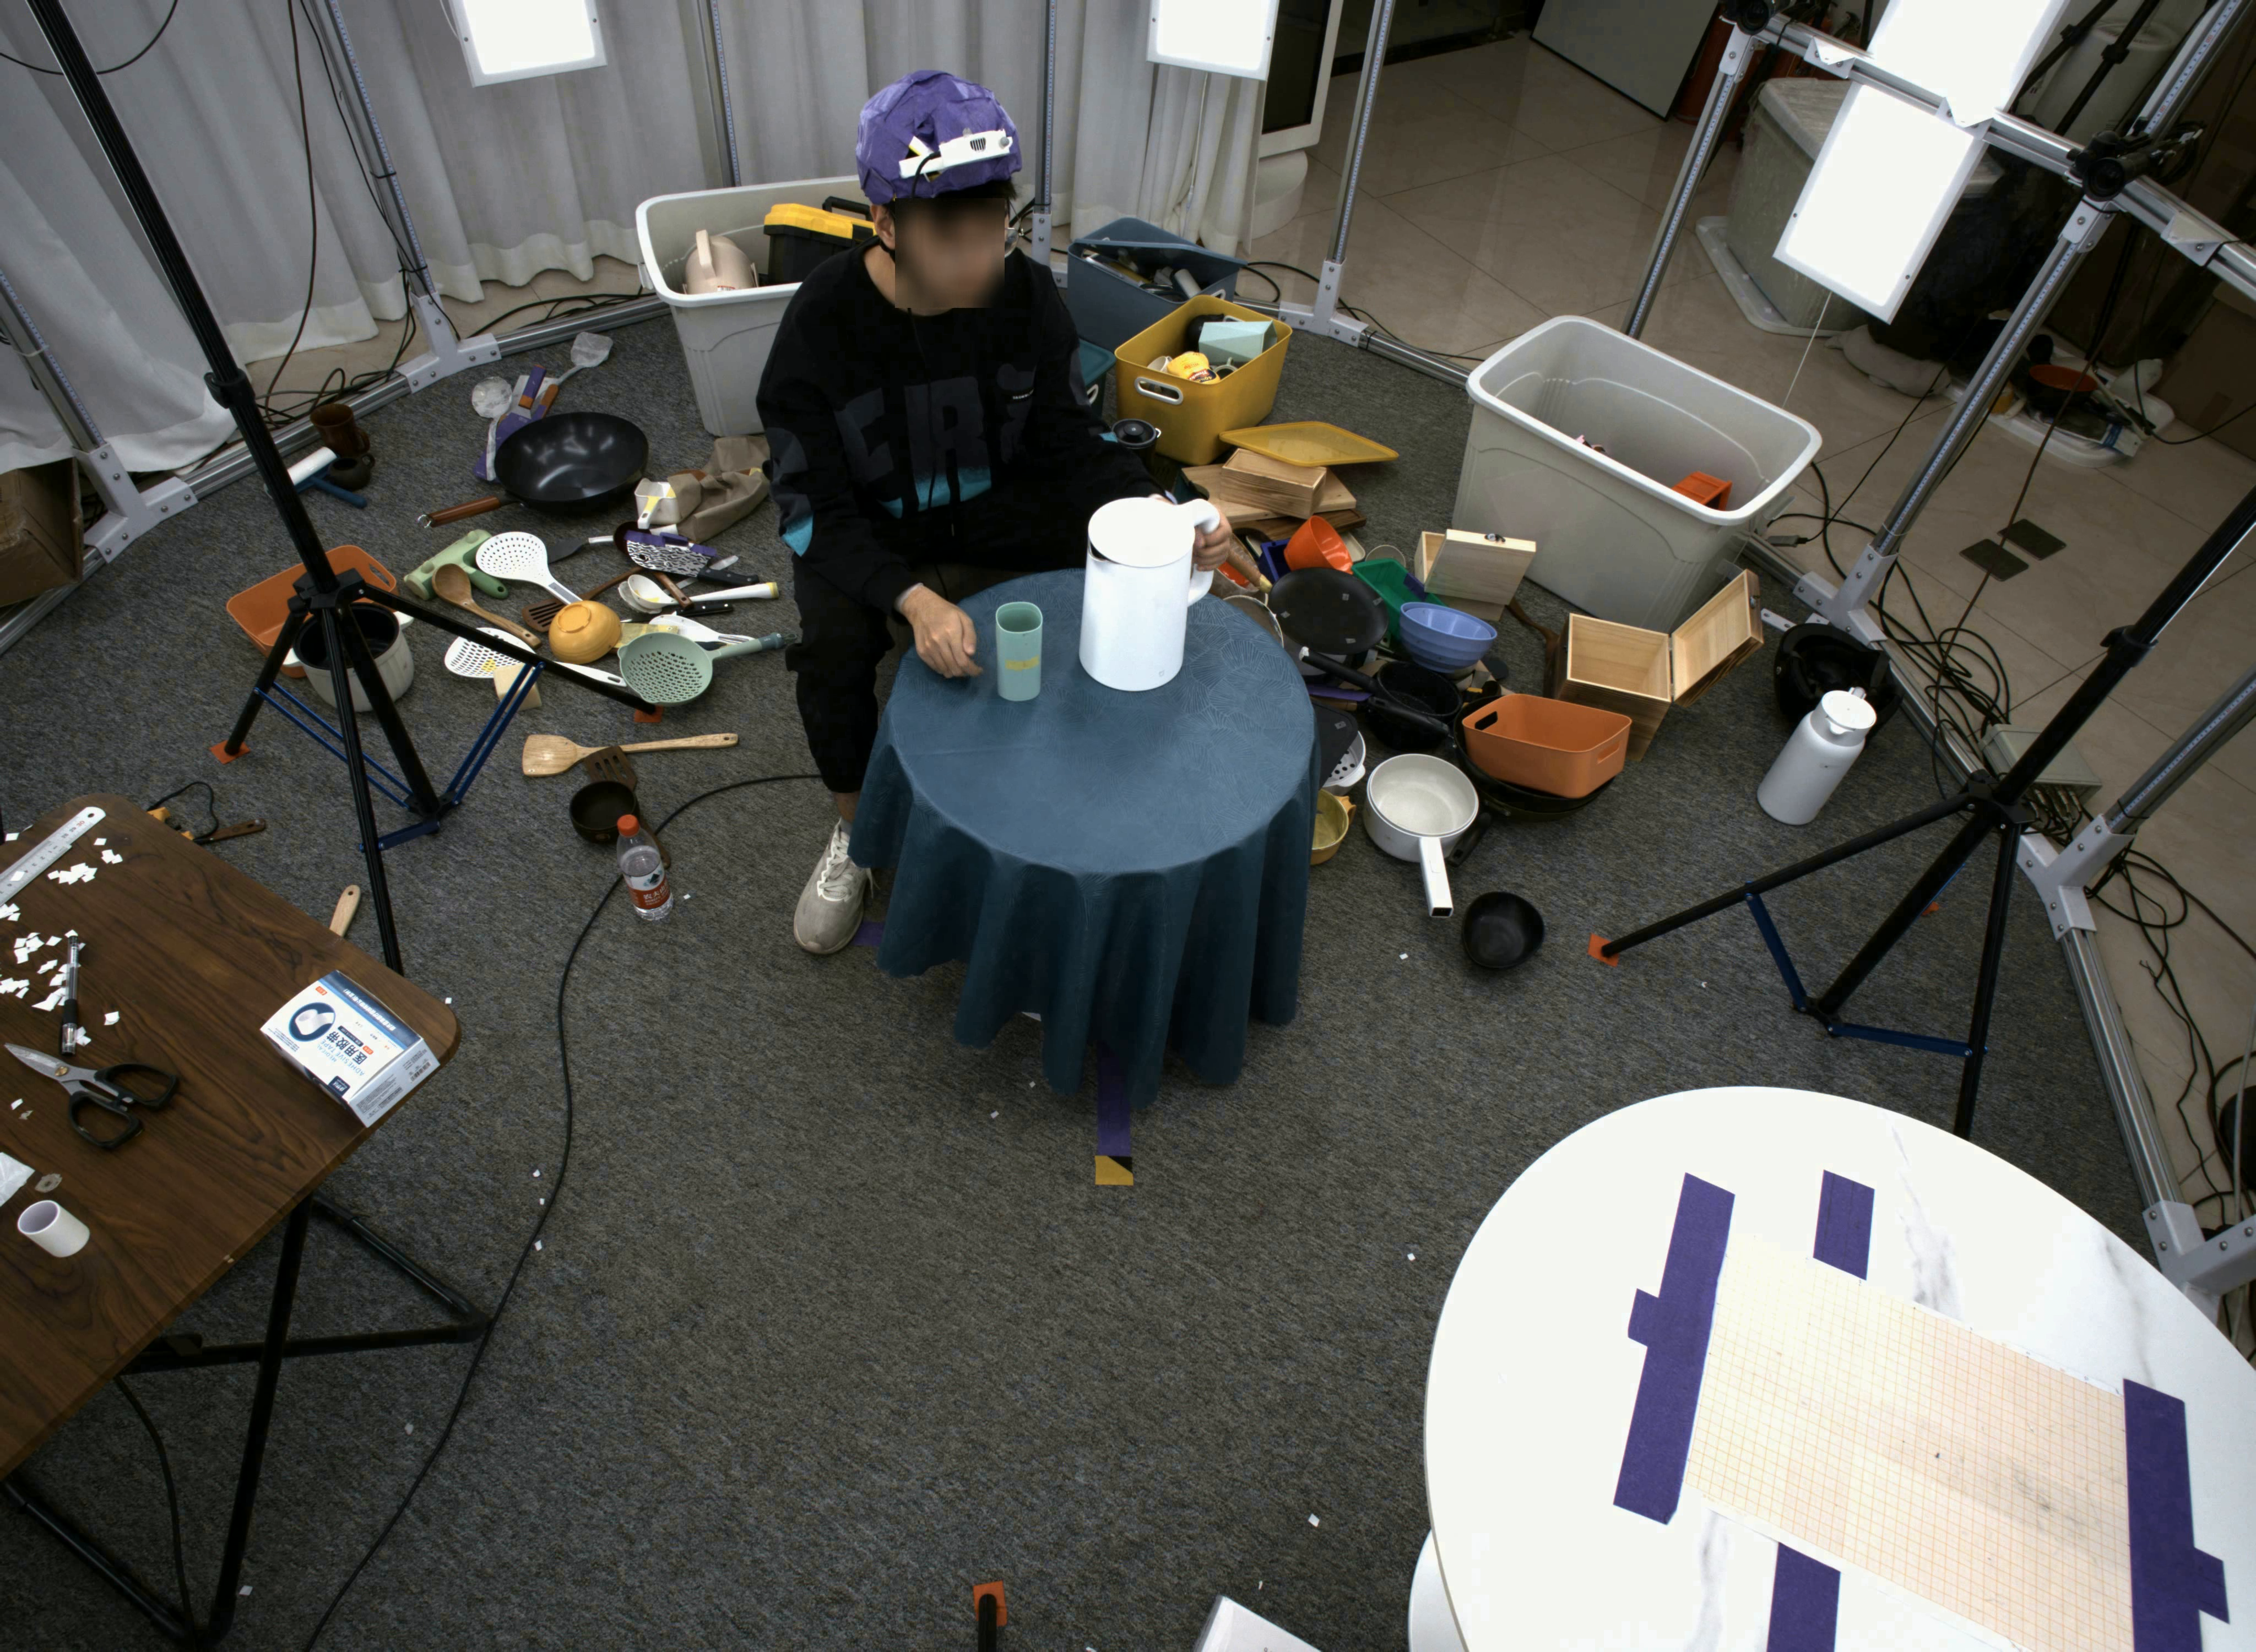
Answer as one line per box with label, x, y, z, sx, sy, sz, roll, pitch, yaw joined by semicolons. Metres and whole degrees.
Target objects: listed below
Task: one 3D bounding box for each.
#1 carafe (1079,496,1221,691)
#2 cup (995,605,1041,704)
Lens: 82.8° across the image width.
carafe;0.033;-0.334;1.810;0.214;0.234;0.155;-28;58;-24
cup;-0.151;-0.239;1.785;0.066;0.129;0.068;2;50;-2
